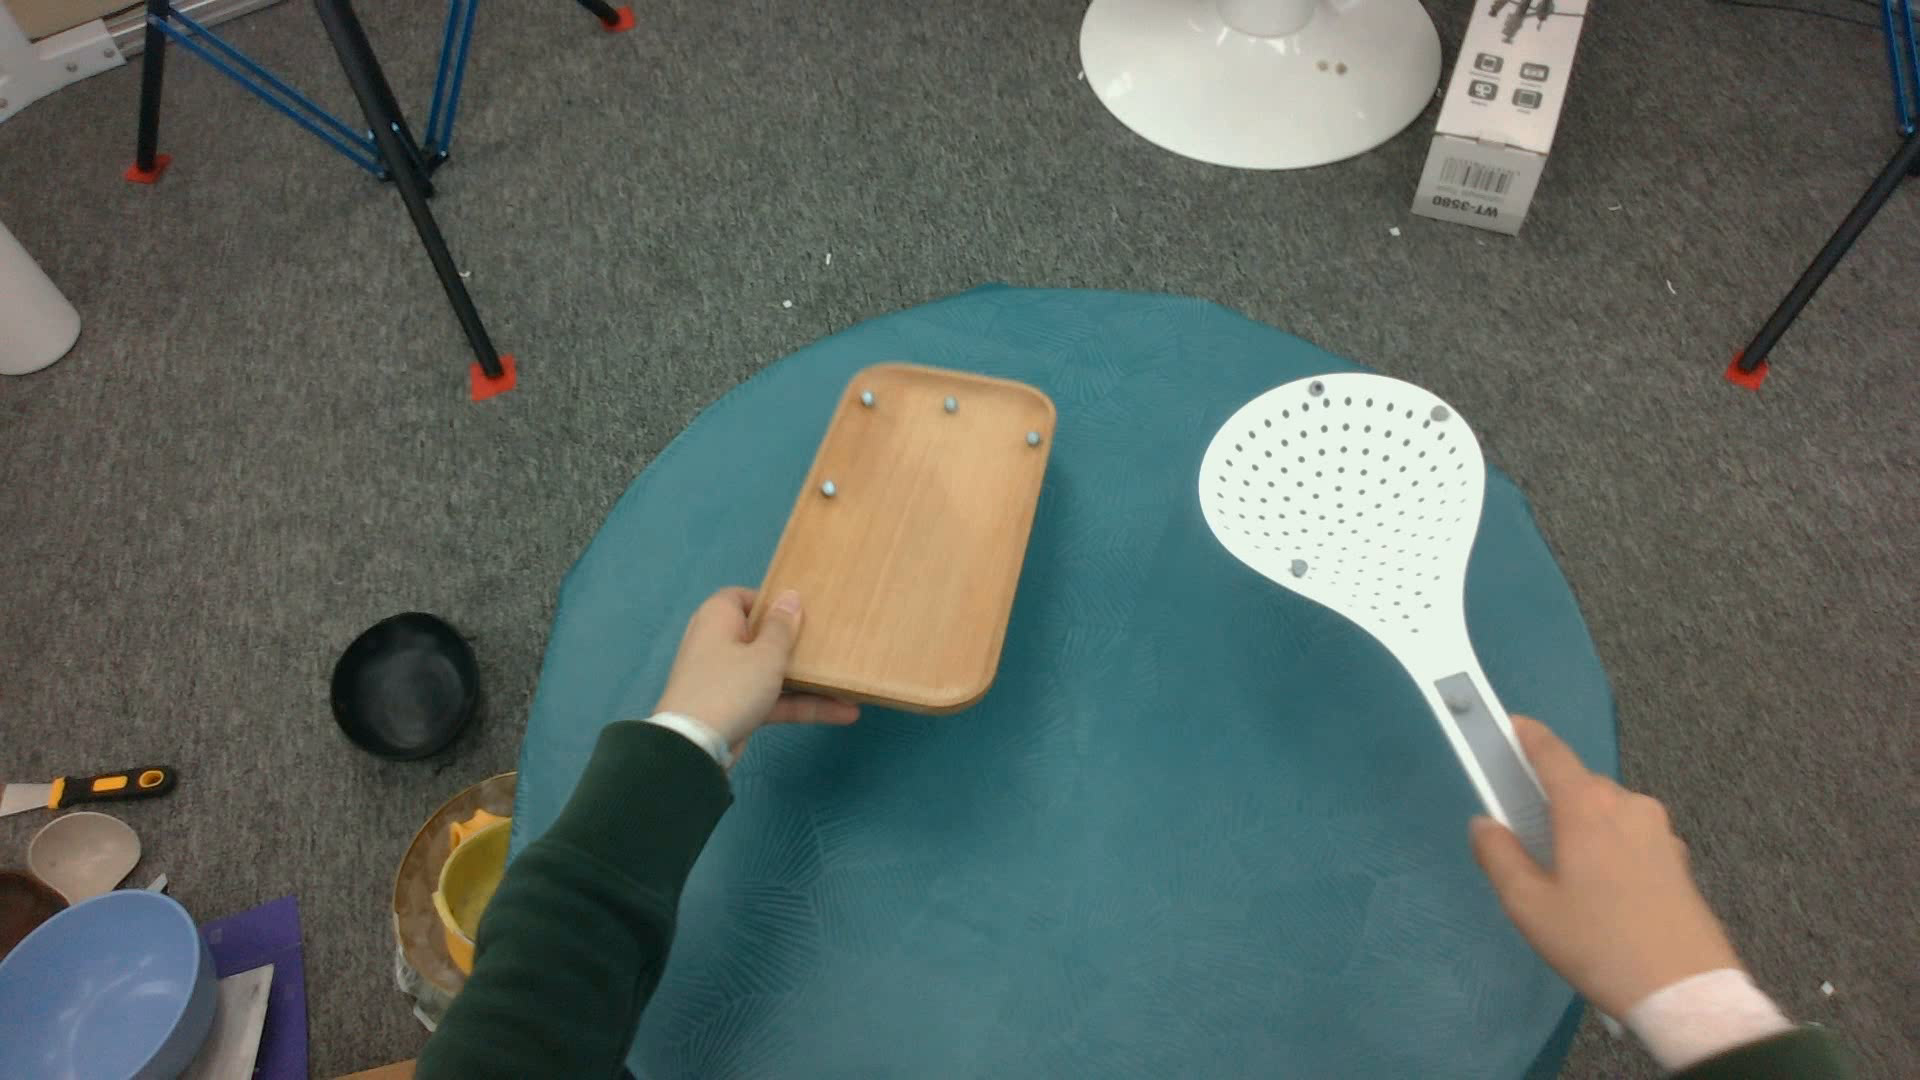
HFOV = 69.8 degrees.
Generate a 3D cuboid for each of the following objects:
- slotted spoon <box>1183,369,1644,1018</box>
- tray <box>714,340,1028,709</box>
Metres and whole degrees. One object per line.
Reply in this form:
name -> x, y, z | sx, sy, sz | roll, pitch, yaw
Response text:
slotted spoon -> 0.205, 0.047, 0.623 | 0.136, 0.045, 0.351 | -20, 44, 4
tray -> -0.040, -0.017, 0.739 | 0.130, 0.023, 0.252 | 9, 48, 5
